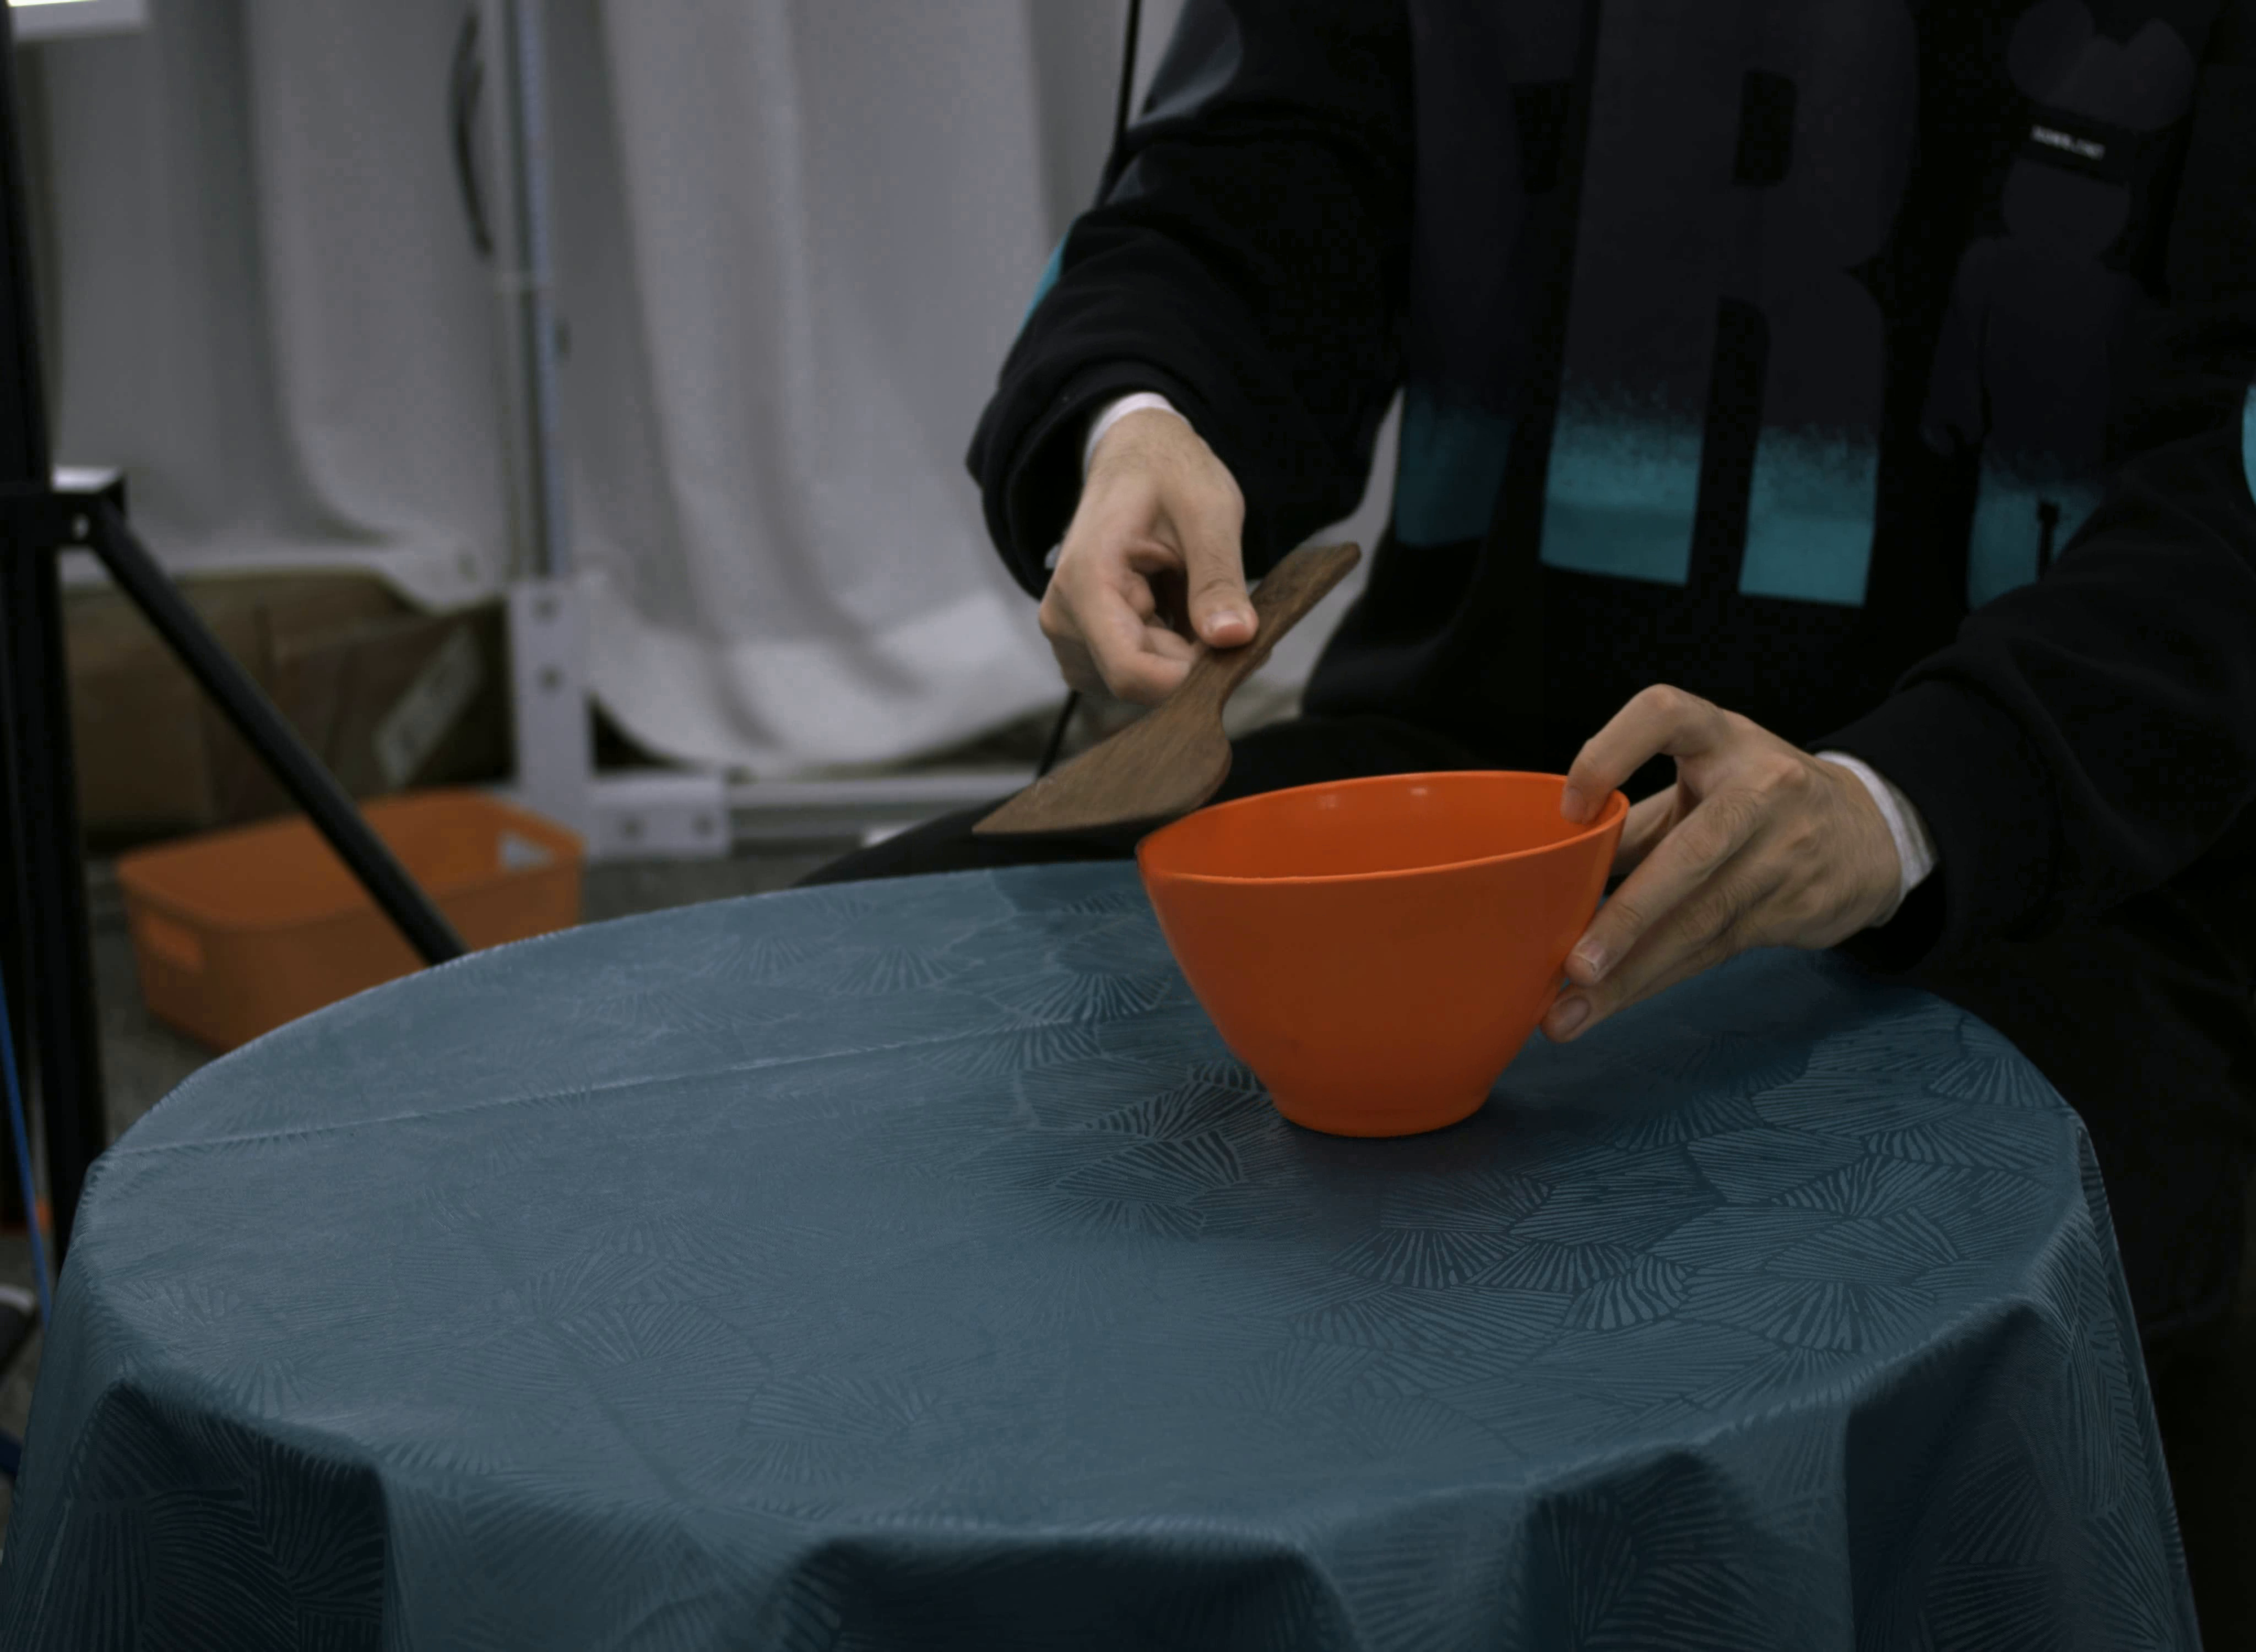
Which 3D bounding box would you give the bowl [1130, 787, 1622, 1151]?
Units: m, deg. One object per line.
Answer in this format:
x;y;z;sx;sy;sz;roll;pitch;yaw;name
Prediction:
0.076;0.042;1.594;0.147;0.104;0.149;-4;18;0;bowl

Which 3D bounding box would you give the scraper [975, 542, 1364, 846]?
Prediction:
0.025;-0.042;1.664;0.077;0.011;0.209;-5;26;30;scraper
